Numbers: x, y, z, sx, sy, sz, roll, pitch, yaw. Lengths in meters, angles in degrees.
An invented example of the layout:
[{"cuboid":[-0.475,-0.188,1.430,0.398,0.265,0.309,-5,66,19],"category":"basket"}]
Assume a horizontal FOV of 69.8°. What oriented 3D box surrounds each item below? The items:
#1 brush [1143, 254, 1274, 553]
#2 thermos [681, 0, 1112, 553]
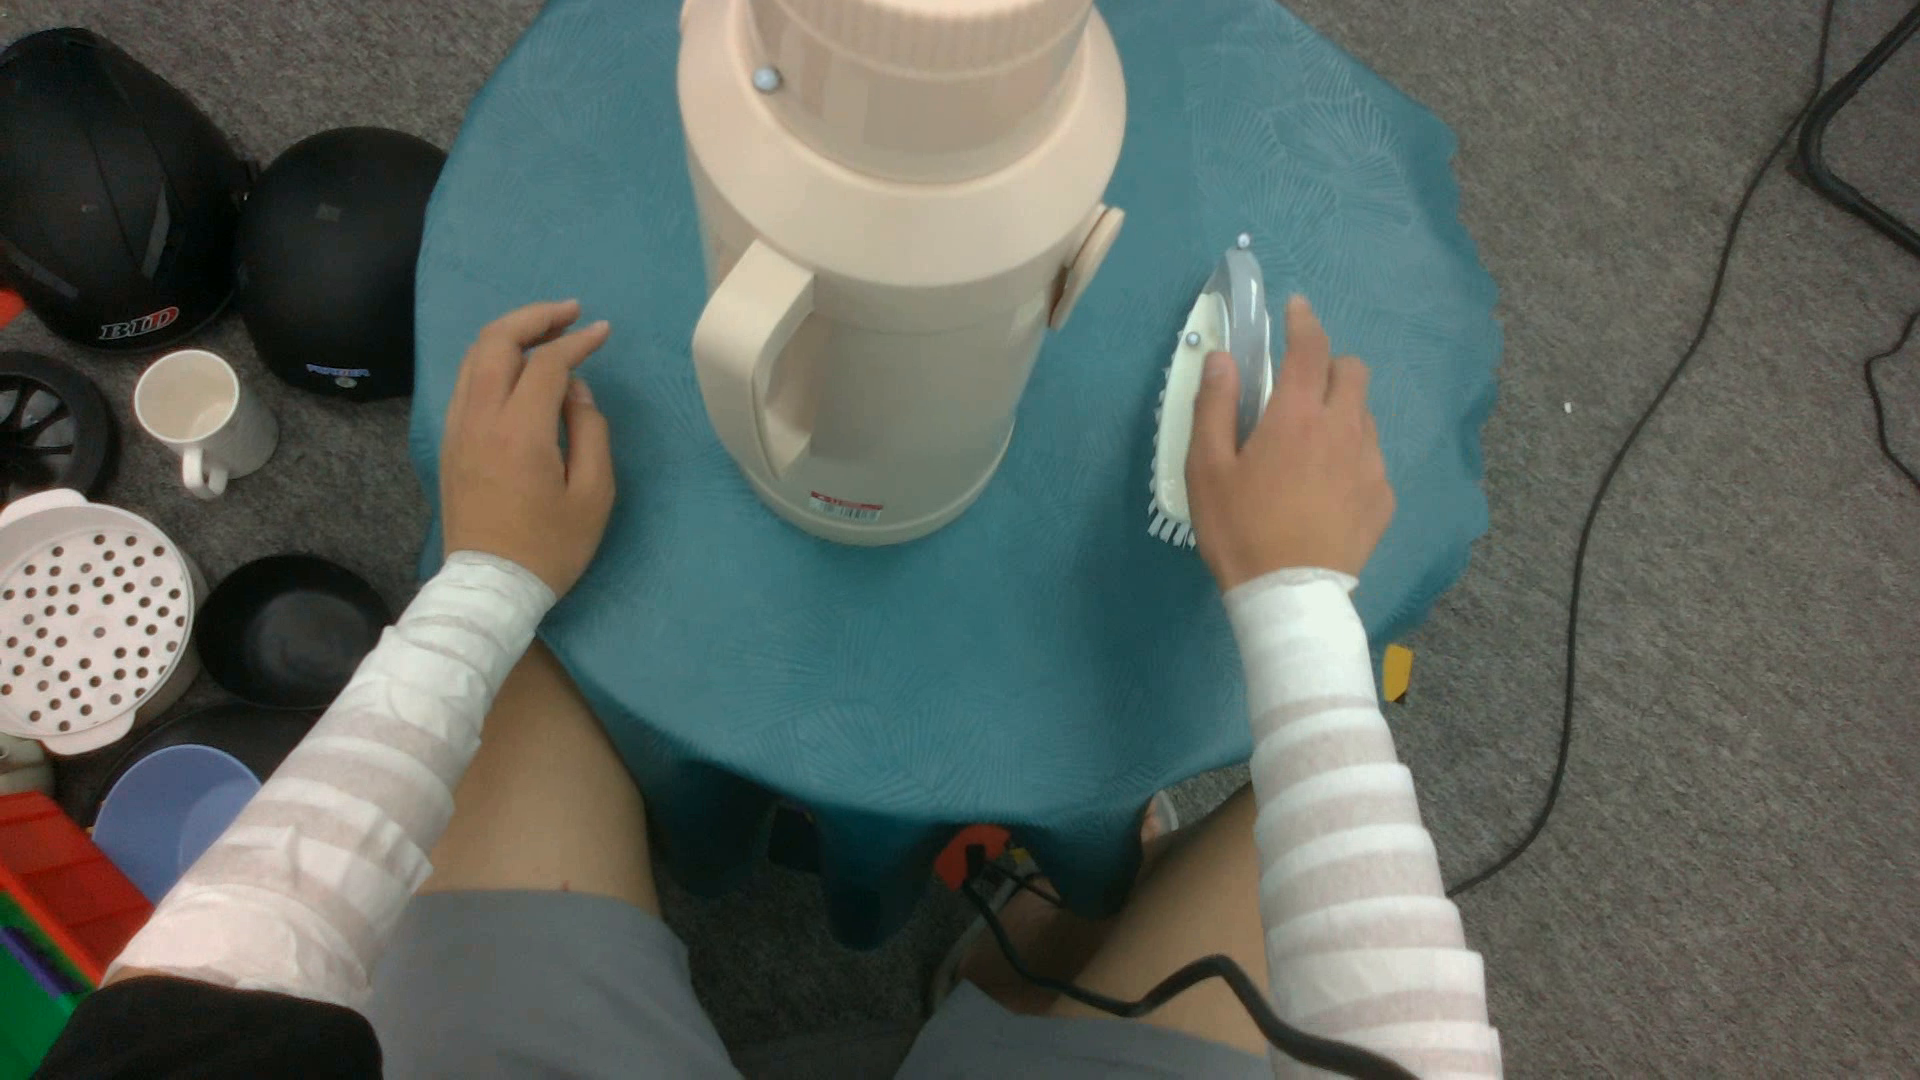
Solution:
[{"cuboid":[0.143,-0.088,0.757,0.061,0.094,0.176,10,69,-8],"category":"brush"},{"cuboid":[-0.040,-0.114,0.586,0.175,0.405,0.207,30,72,3],"category":"thermos"}]
